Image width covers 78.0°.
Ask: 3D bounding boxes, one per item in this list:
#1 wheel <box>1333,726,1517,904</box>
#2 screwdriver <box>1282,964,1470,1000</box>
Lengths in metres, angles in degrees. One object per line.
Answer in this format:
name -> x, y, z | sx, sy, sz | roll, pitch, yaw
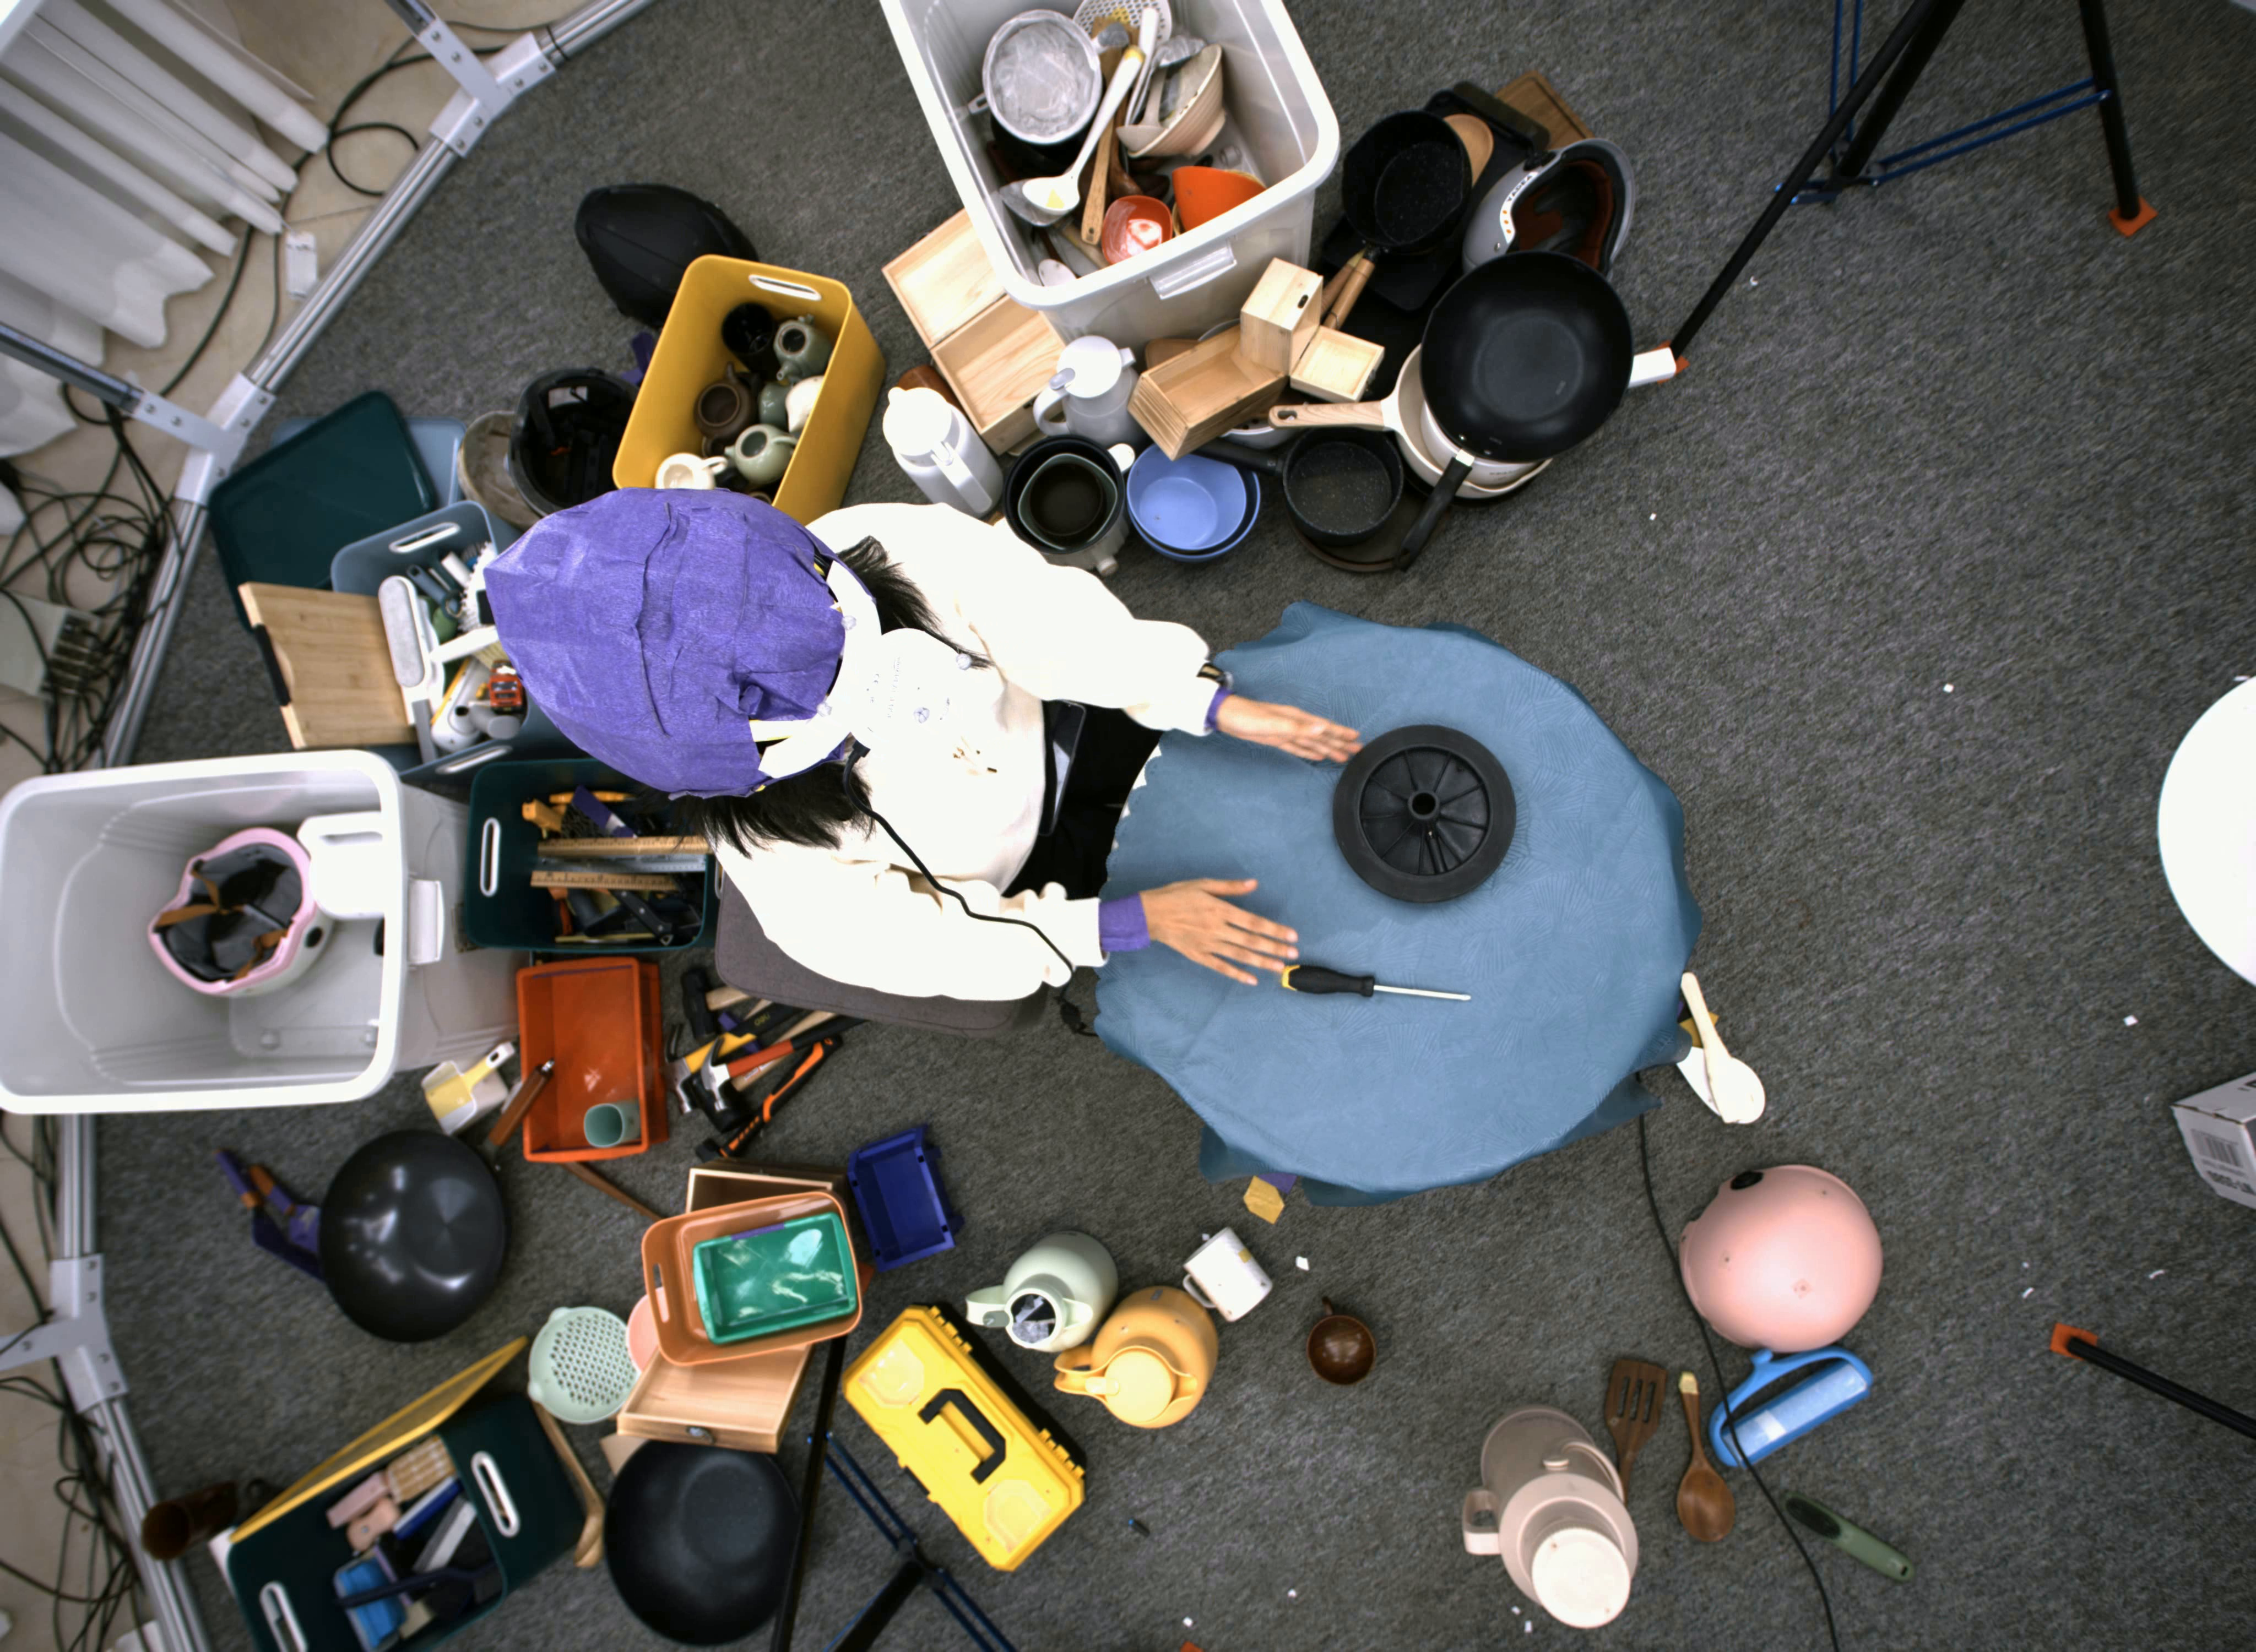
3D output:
wheel -> 0.306, -0.015, 1.420 | 0.188, 0.079, 0.189 | -39, 80, 6
screwdriver -> 0.260, 0.163, 1.445 | 0.197, 0.031, 0.031 | 3, 86, 8
